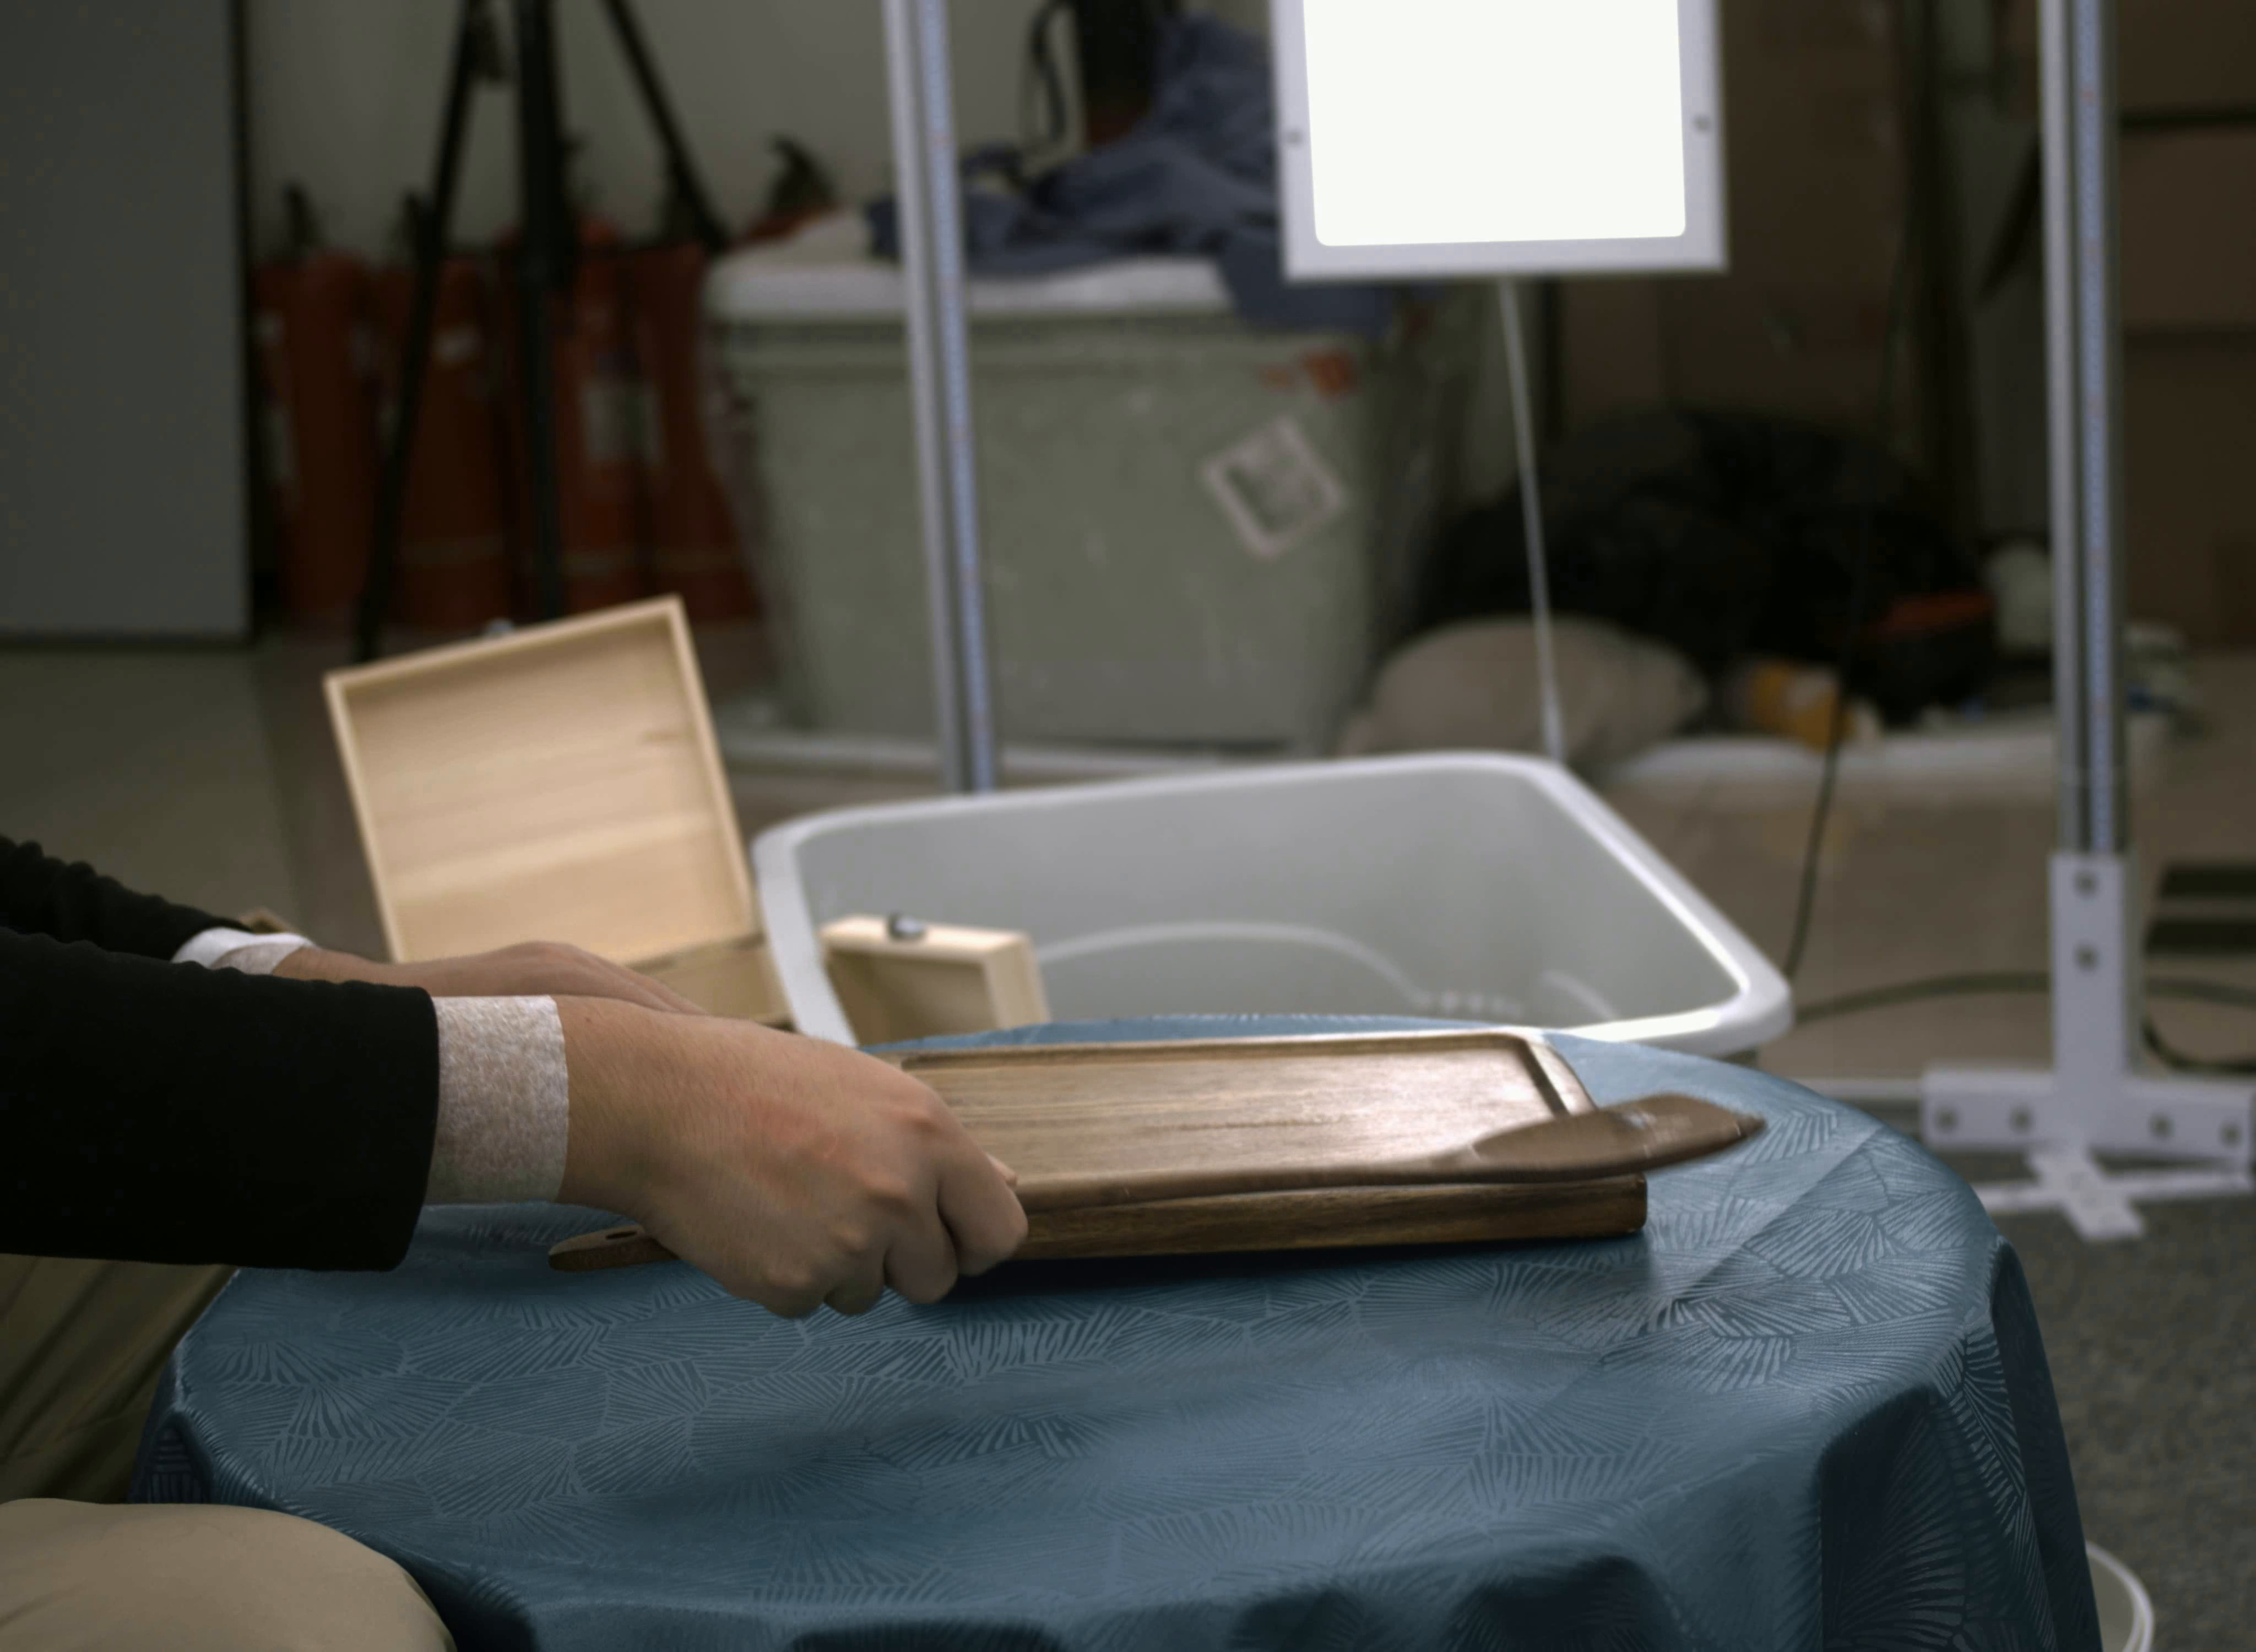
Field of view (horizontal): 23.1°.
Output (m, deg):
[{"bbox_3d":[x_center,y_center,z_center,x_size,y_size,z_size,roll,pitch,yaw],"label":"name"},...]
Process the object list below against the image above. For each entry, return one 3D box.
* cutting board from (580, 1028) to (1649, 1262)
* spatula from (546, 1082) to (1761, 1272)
[{"bbox_3d":[-0.012,0.108,1.884,0.350,0.023,0.201,-2,13,-4],"label":"cutting board"},{"bbox_3d":[0.010,0.108,1.706,0.381,0.016,0.097,-6,5,-11],"label":"spatula"}]
